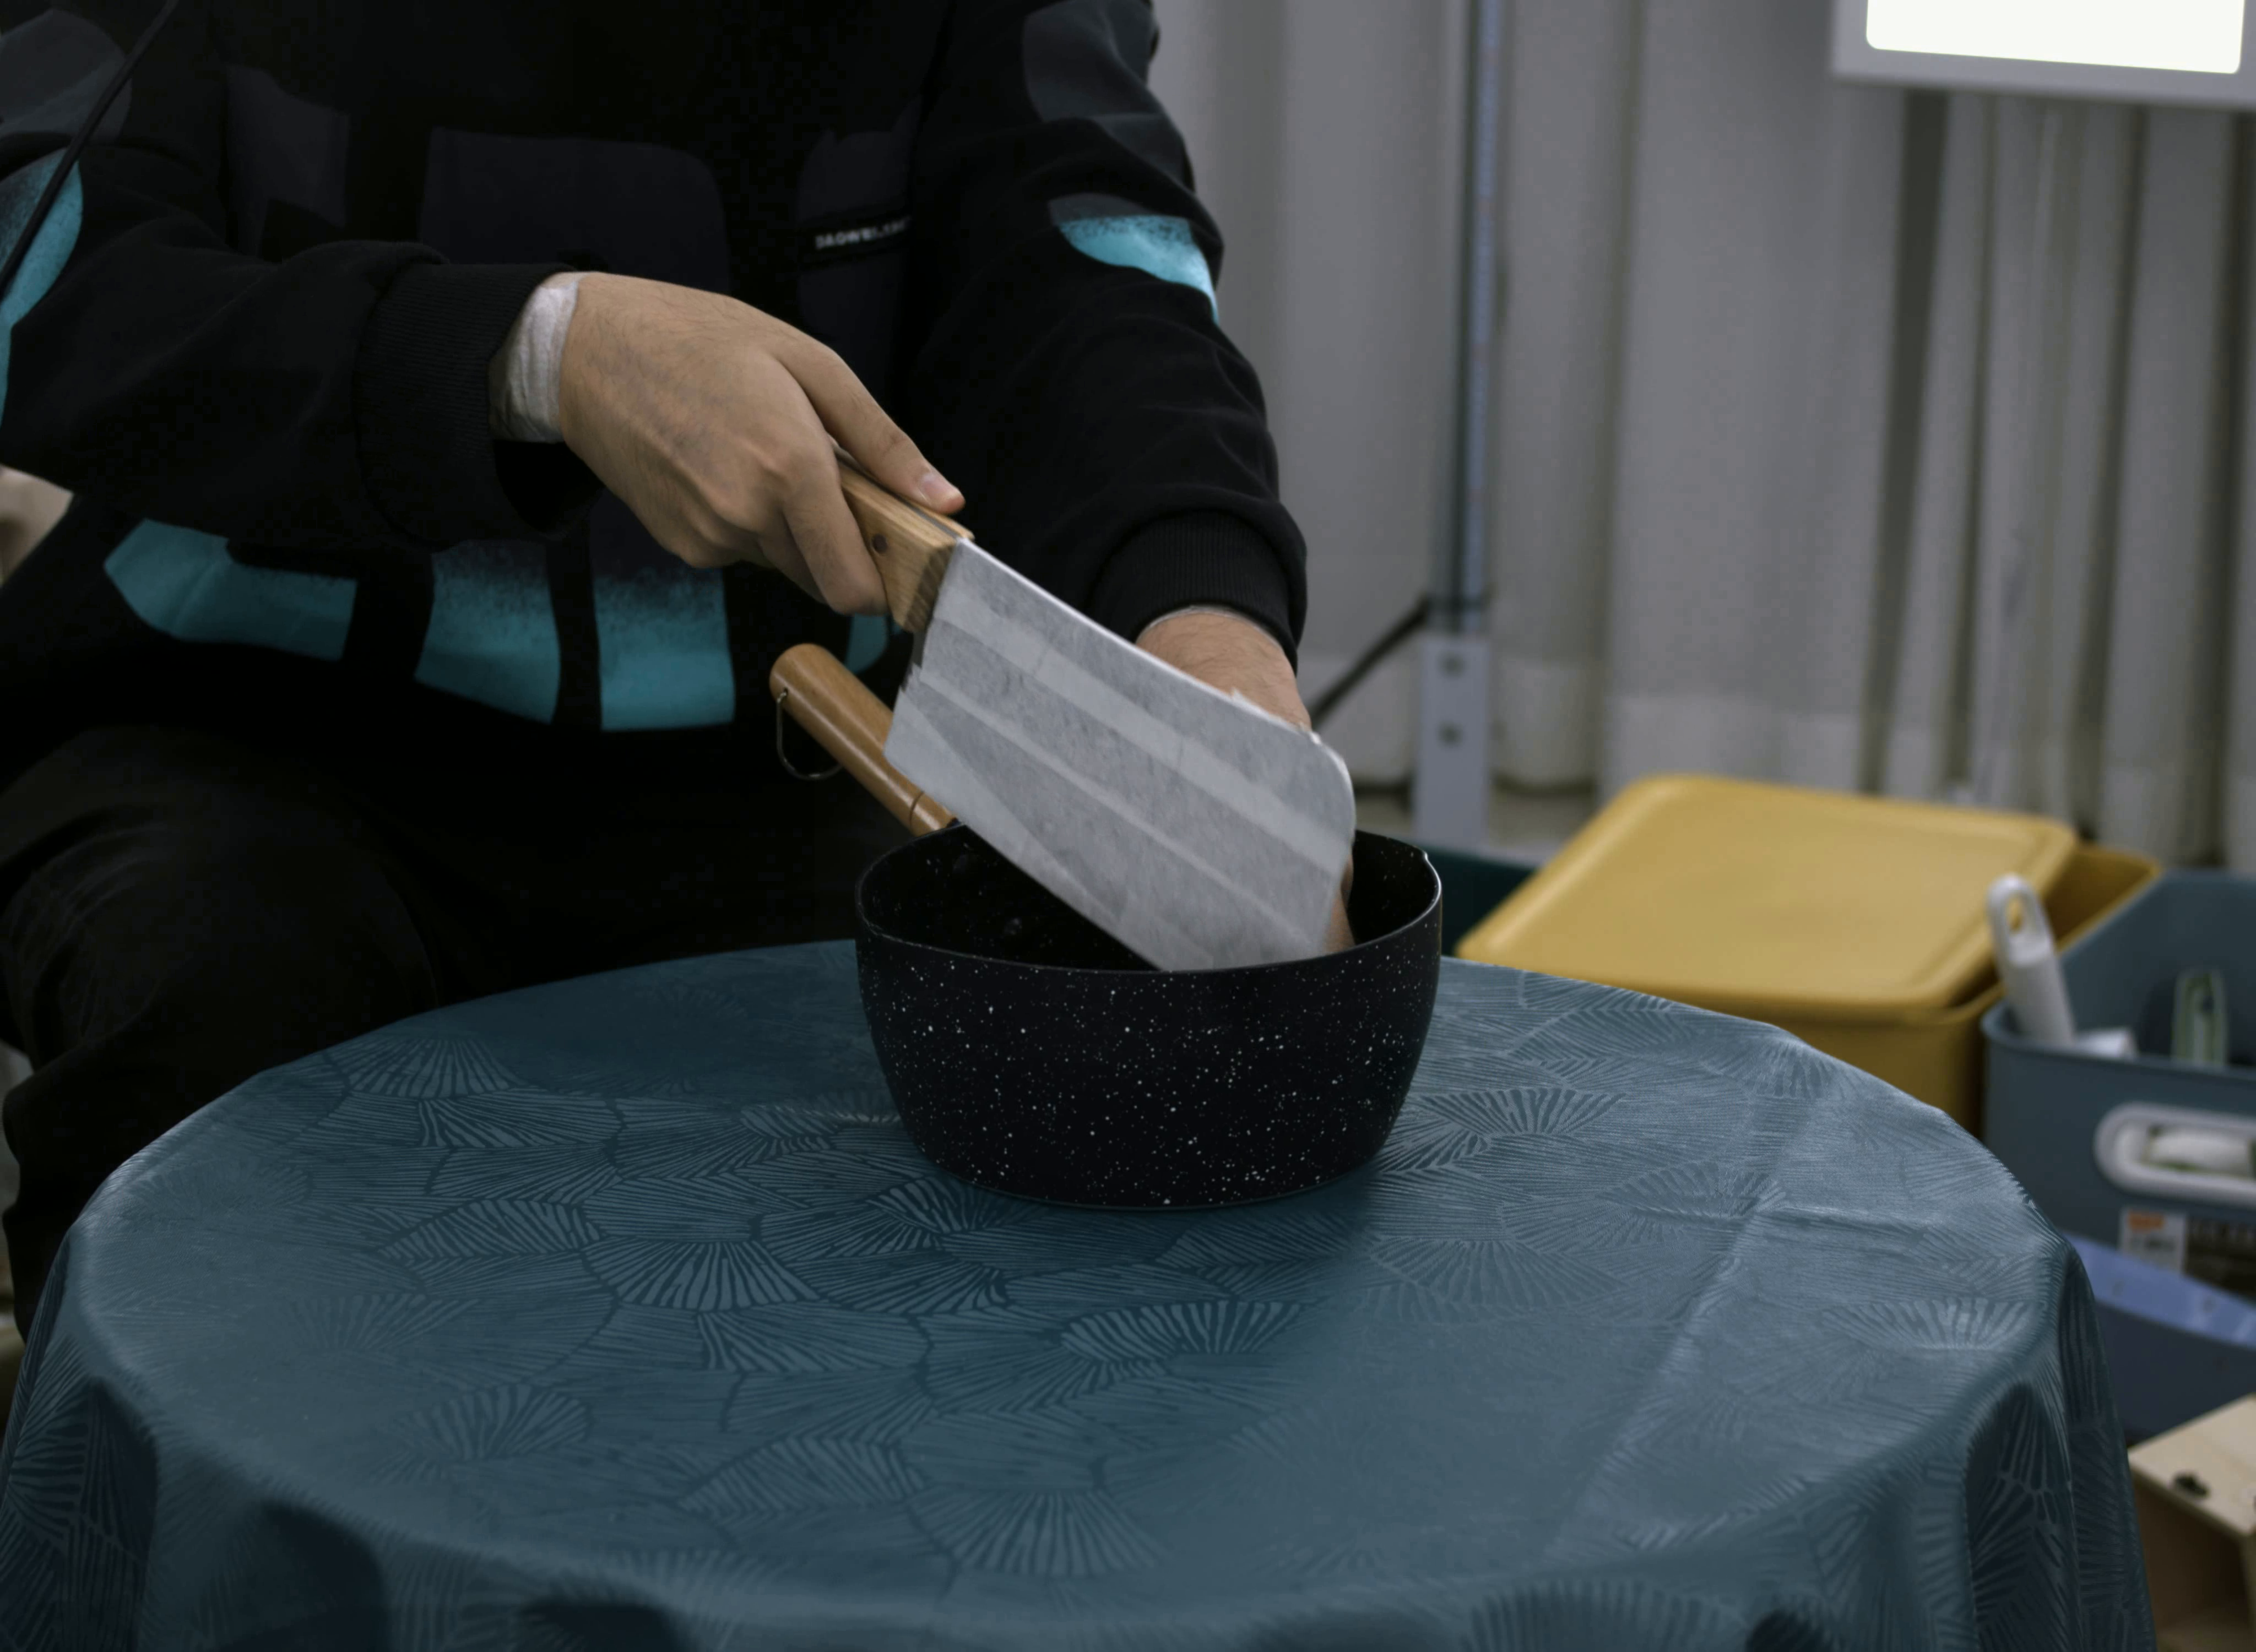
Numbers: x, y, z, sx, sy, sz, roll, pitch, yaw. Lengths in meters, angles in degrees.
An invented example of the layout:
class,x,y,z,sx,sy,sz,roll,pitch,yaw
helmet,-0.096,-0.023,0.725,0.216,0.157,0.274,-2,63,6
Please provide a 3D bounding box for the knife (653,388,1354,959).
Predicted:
class,x,y,z,sx,sy,sz,roll,pitch,yaw
knife,-0.043,-0.049,1.670,0.311,0.115,0.022,39,34,27

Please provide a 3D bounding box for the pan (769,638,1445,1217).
class,x,y,z,sx,sy,sz,roll,pitch,yaw
pan,-0.034,0.028,1.719,0.208,0.109,0.338,-10,20,-30
